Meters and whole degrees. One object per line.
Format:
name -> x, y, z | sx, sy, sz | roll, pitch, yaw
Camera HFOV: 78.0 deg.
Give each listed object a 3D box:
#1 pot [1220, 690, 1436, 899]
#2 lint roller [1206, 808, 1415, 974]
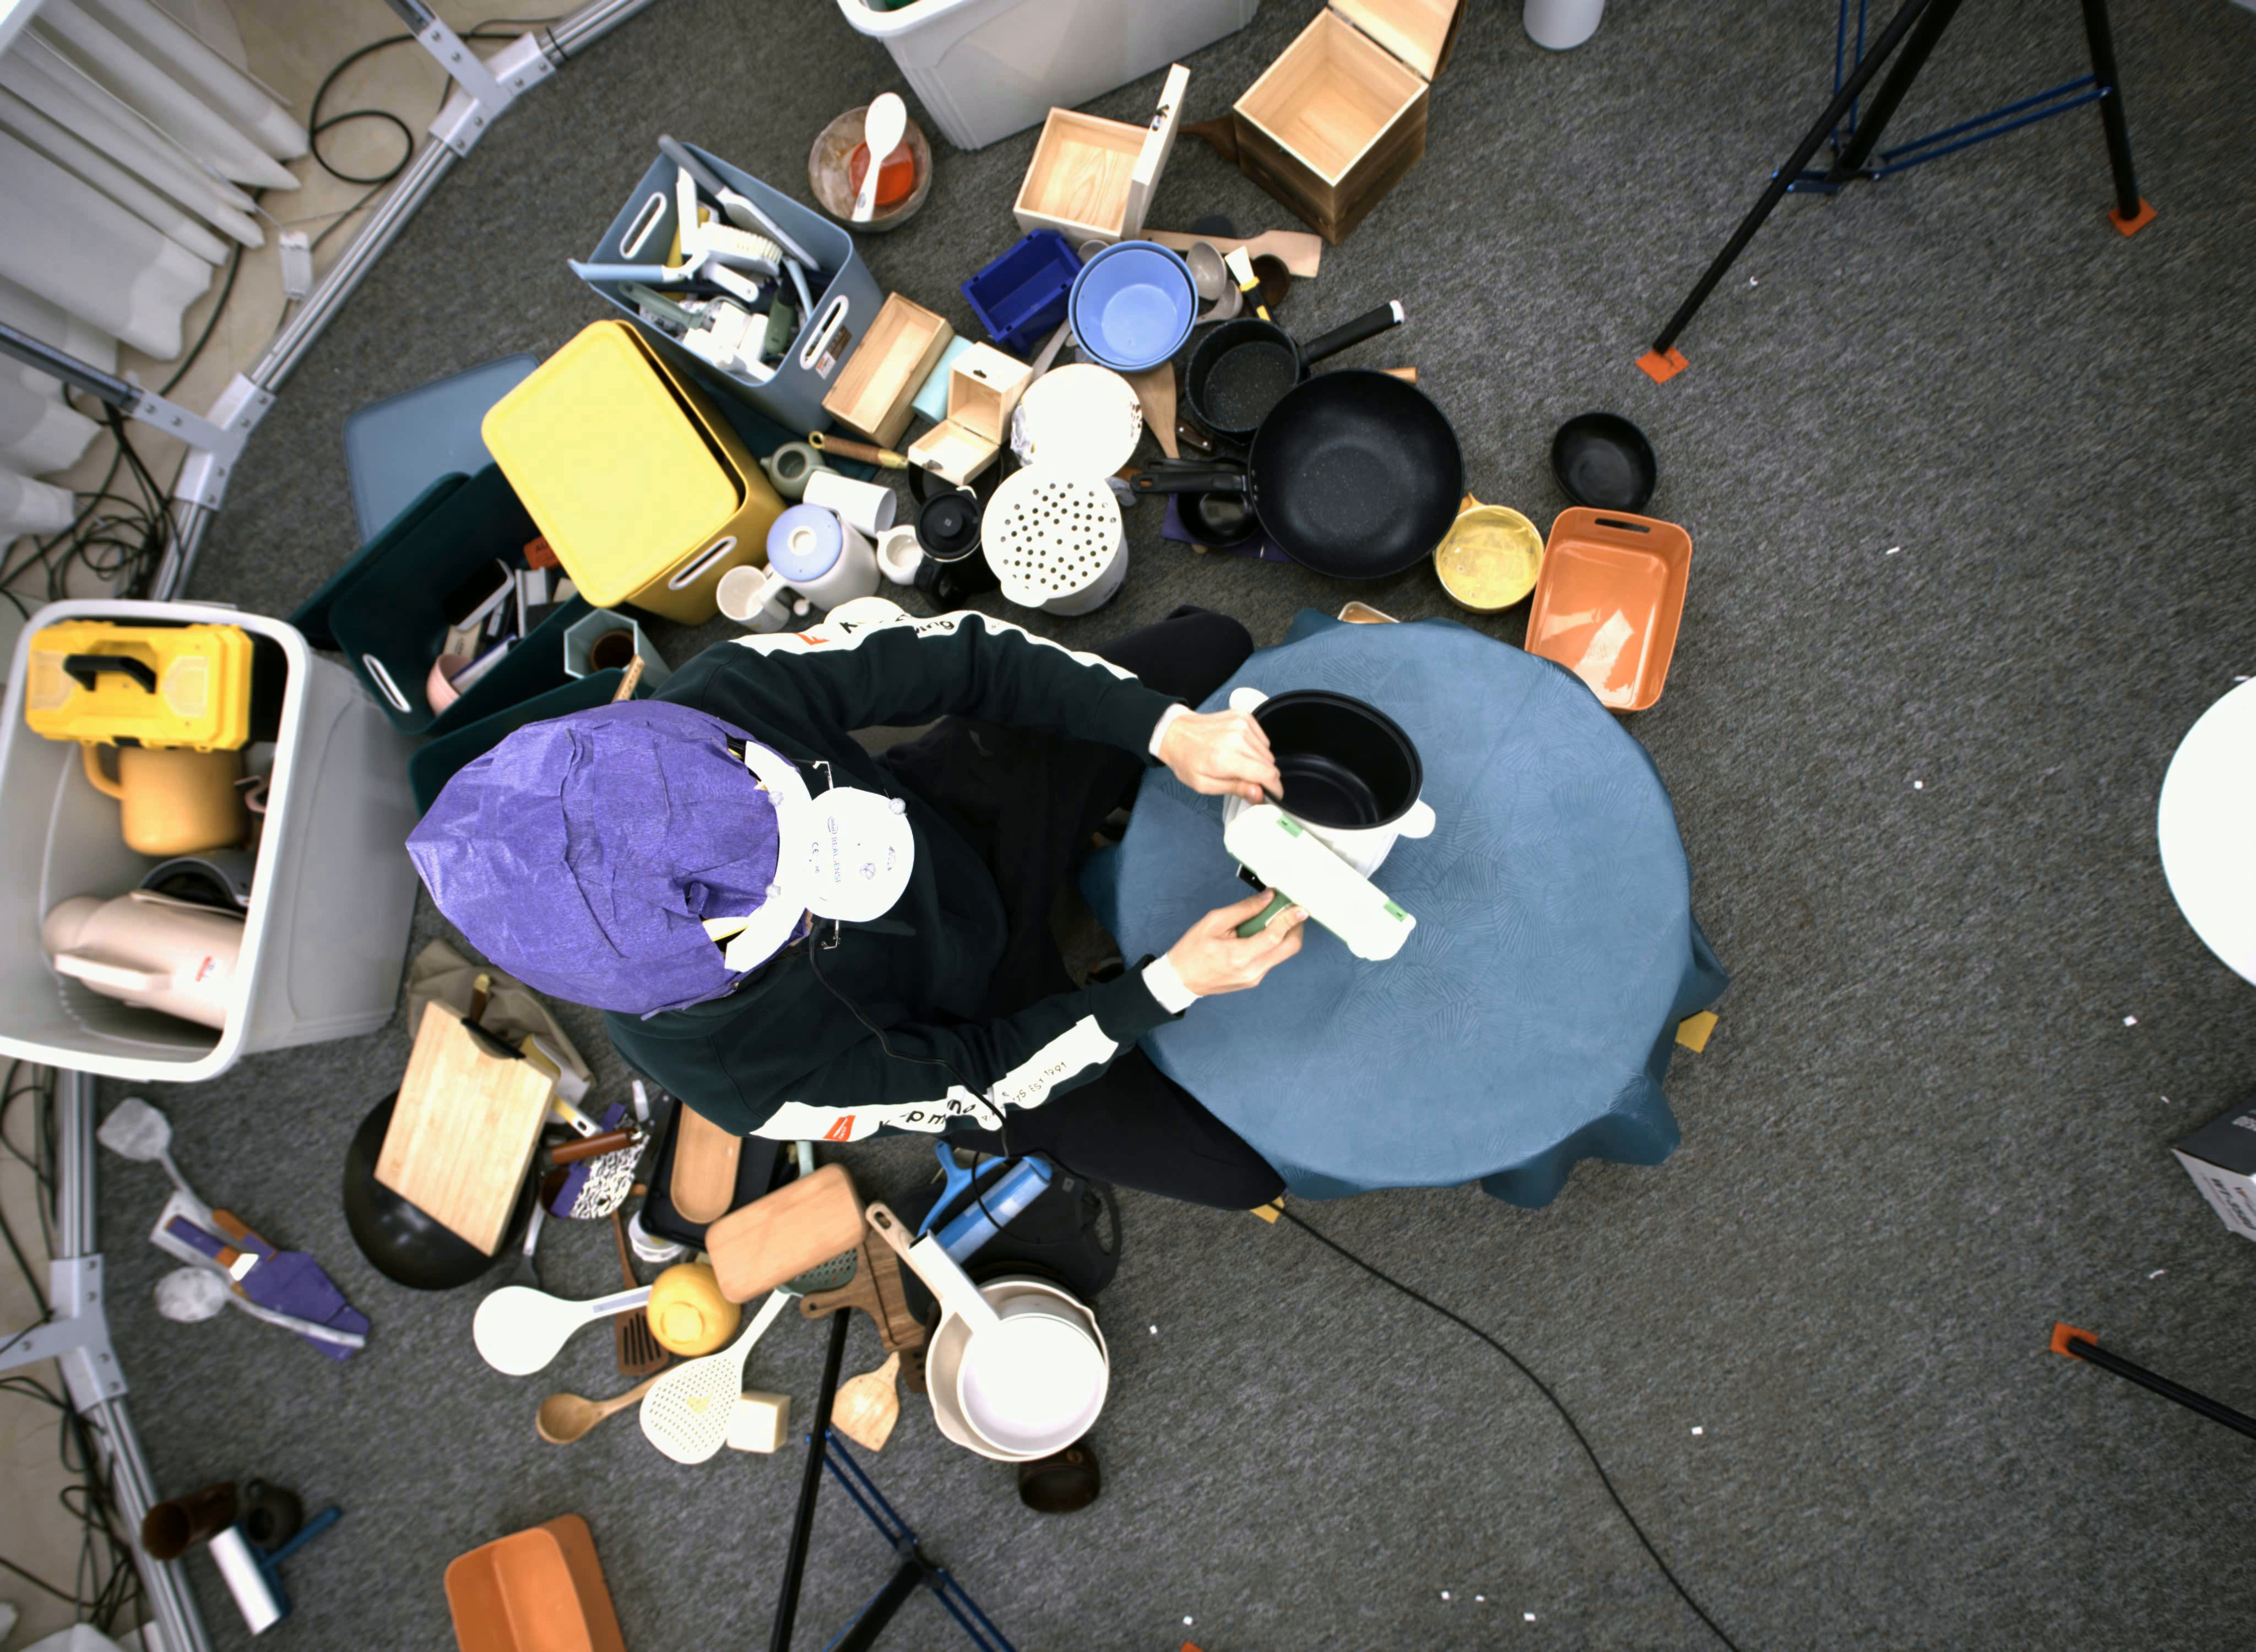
pot -> 0.186, -0.028, 1.374 | 0.239, 0.146, 0.187 | 37, 58, 16
lint roller -> 0.139, 0.095, 1.299 | 0.200, 0.080, 0.186 | 36, 115, -19
